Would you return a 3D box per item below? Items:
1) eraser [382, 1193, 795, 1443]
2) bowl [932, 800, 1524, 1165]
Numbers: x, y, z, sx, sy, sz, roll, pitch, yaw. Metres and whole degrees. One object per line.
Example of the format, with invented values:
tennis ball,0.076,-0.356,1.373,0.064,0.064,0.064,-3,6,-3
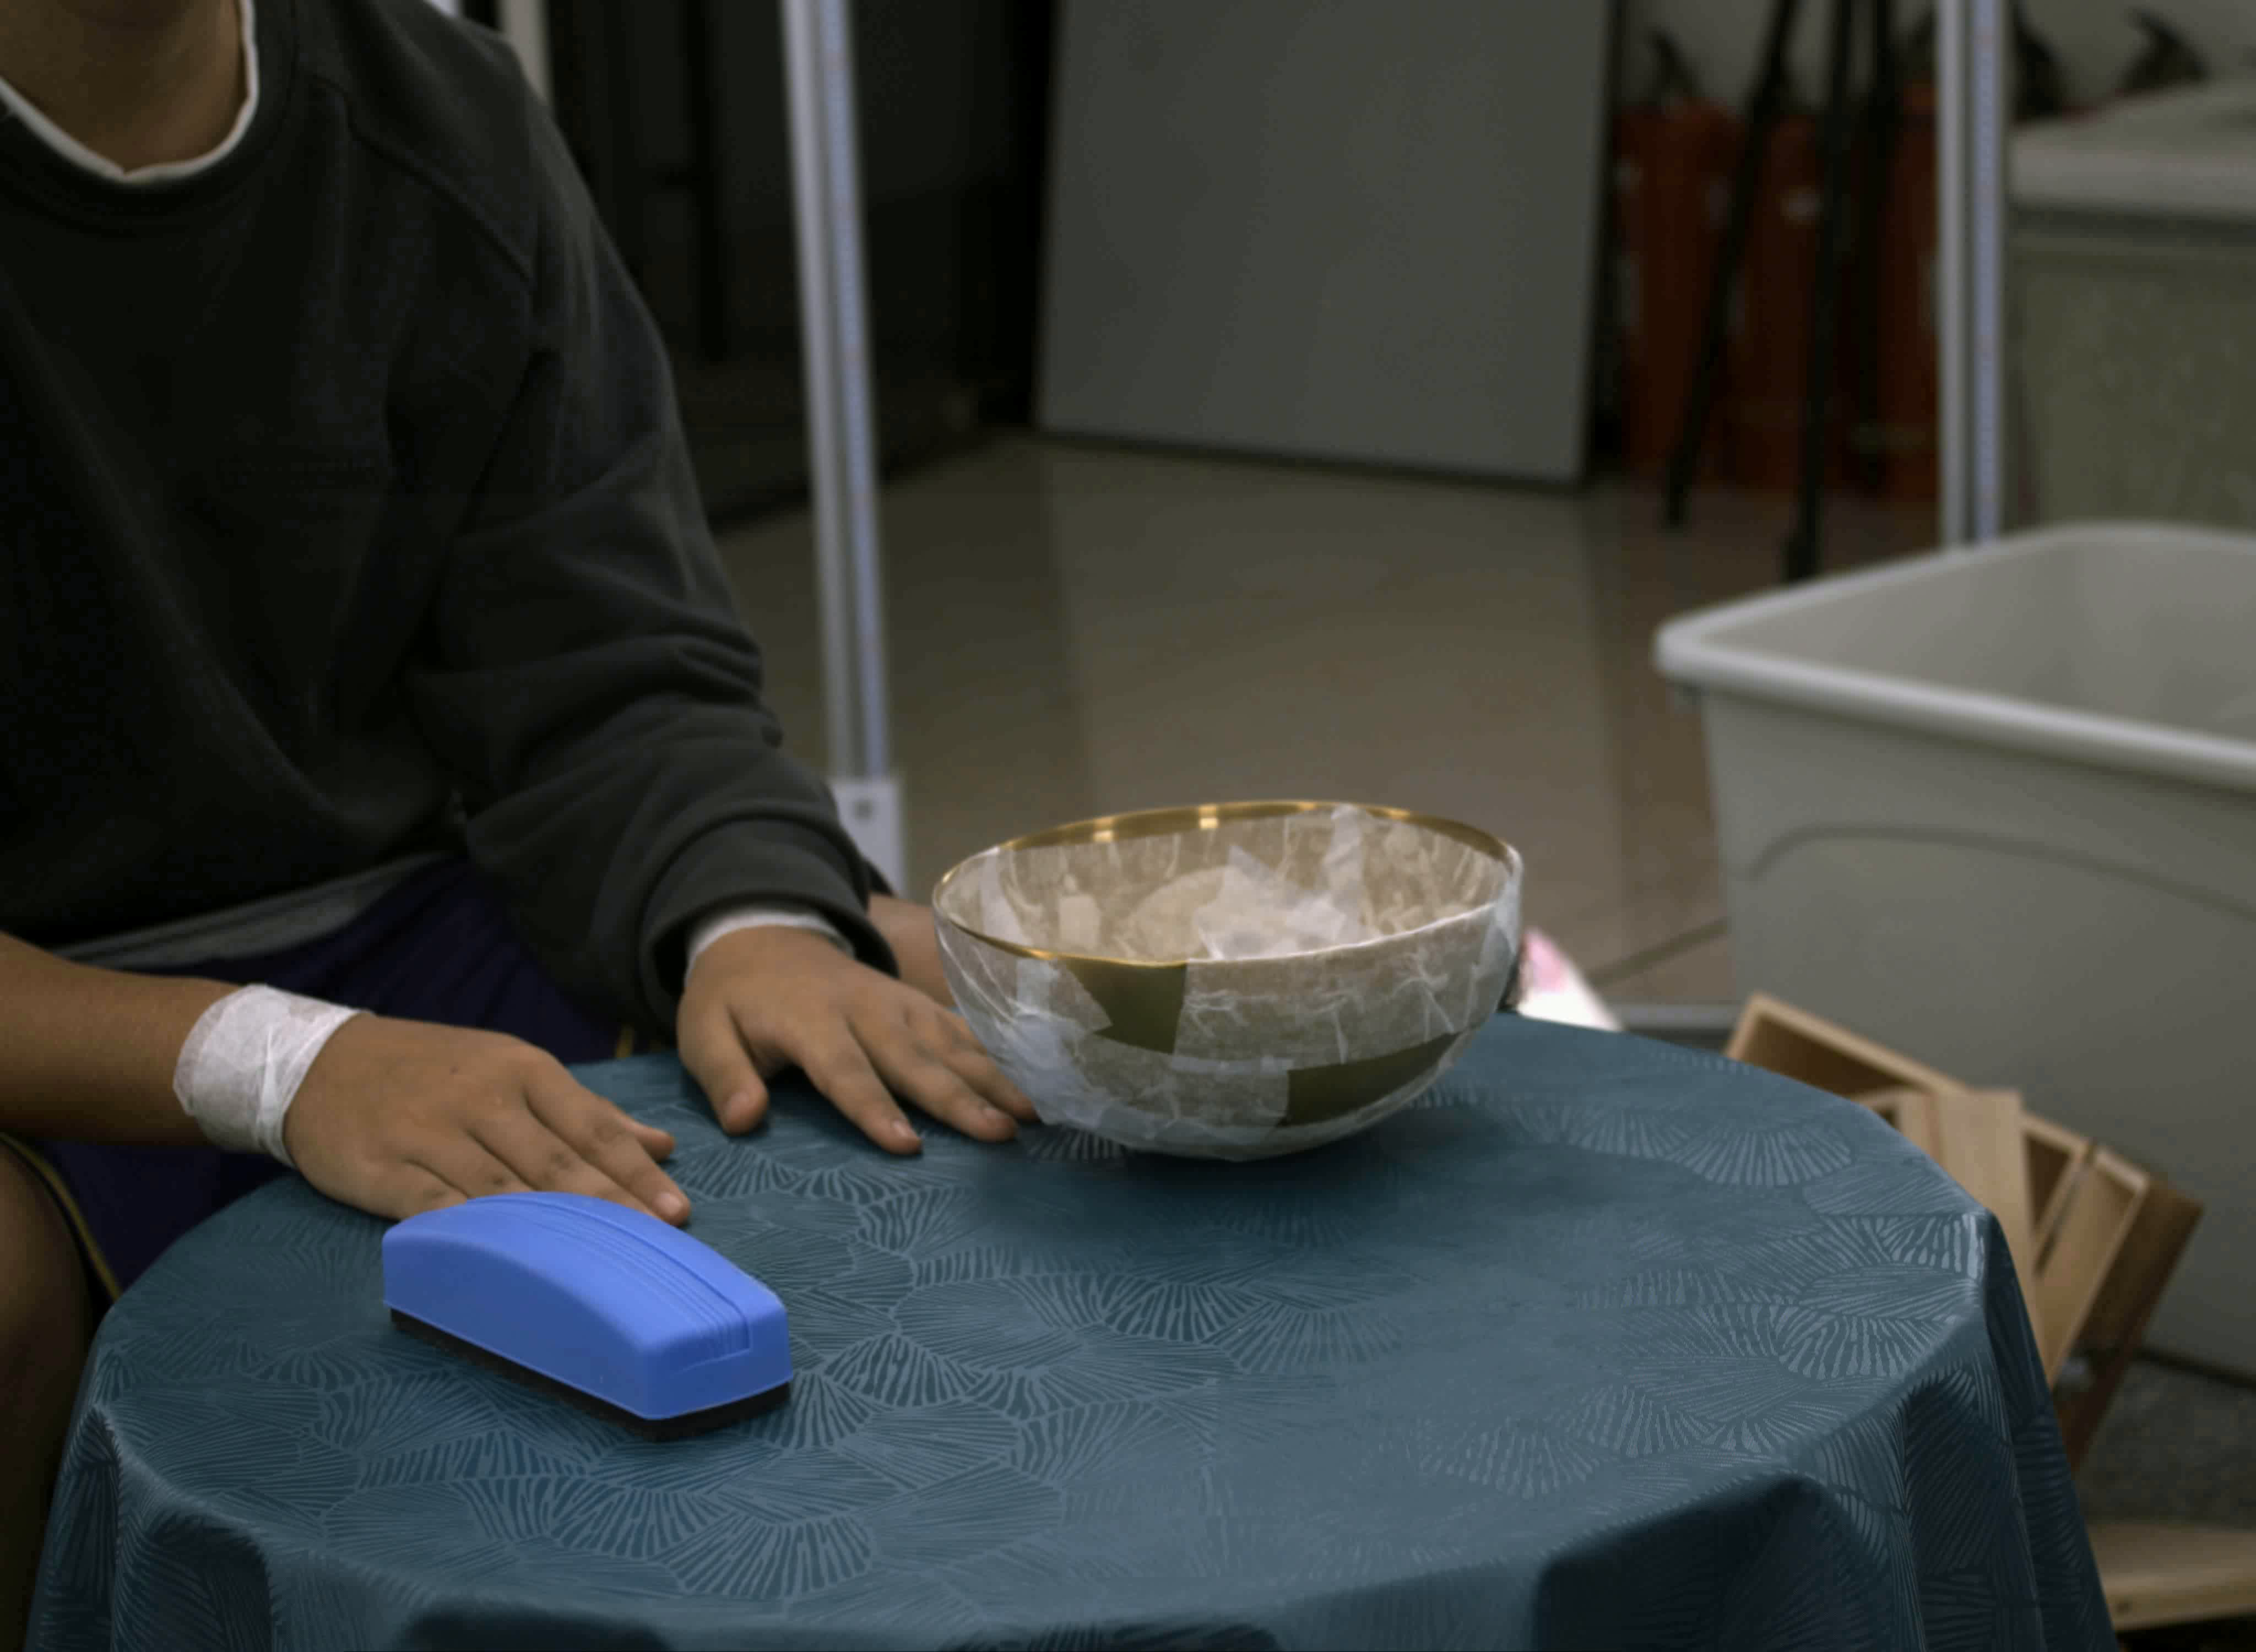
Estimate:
eraser,-0.165,0.142,1.633,0.053,0.048,0.164,-16,18,-35
bowl,0.034,0.059,1.817,0.212,0.095,0.215,-4,14,0
